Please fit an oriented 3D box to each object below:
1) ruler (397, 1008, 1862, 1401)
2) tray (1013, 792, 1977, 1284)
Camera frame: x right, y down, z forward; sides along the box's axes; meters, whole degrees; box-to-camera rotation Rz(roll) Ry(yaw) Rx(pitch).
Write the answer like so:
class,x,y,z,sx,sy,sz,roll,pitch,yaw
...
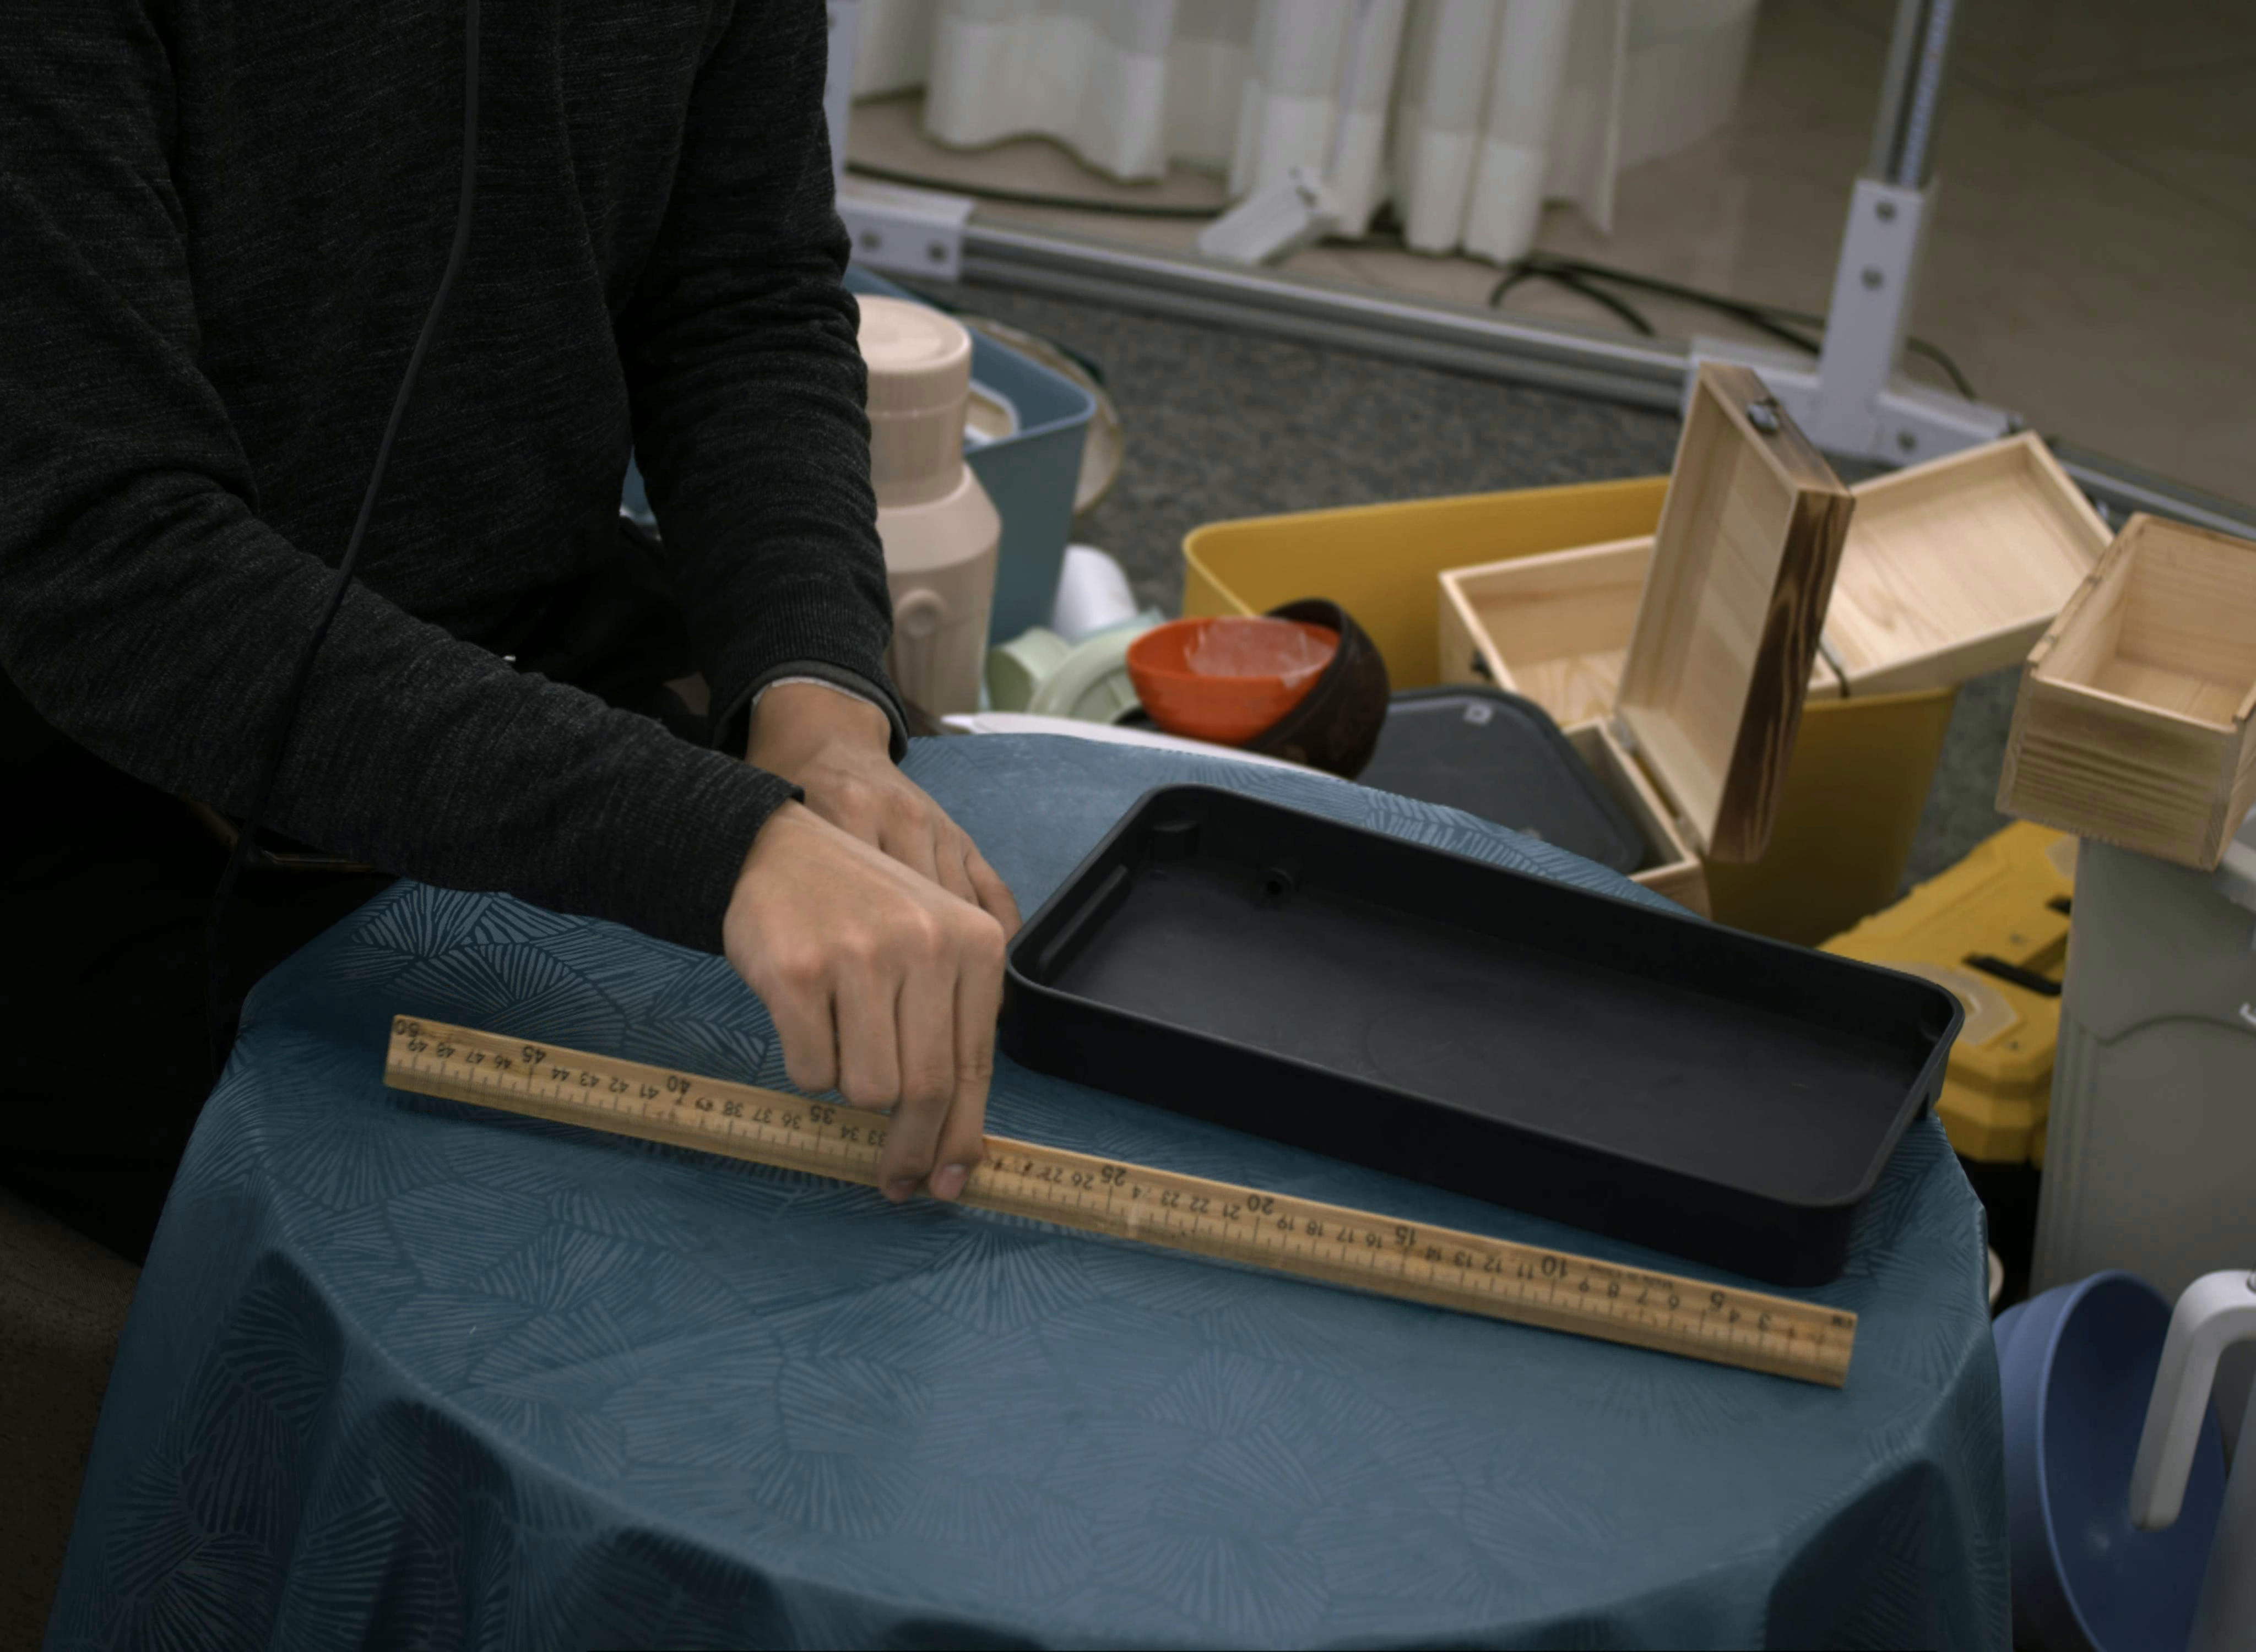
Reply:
class,x,y,z,sx,sy,sz,roll,pitch,yaw
ruler,-0.005,0.124,1.767,0.500,0.027,0.006,12,8,8
tray,0.131,0.072,1.894,0.318,0.037,0.184,14,27,16
